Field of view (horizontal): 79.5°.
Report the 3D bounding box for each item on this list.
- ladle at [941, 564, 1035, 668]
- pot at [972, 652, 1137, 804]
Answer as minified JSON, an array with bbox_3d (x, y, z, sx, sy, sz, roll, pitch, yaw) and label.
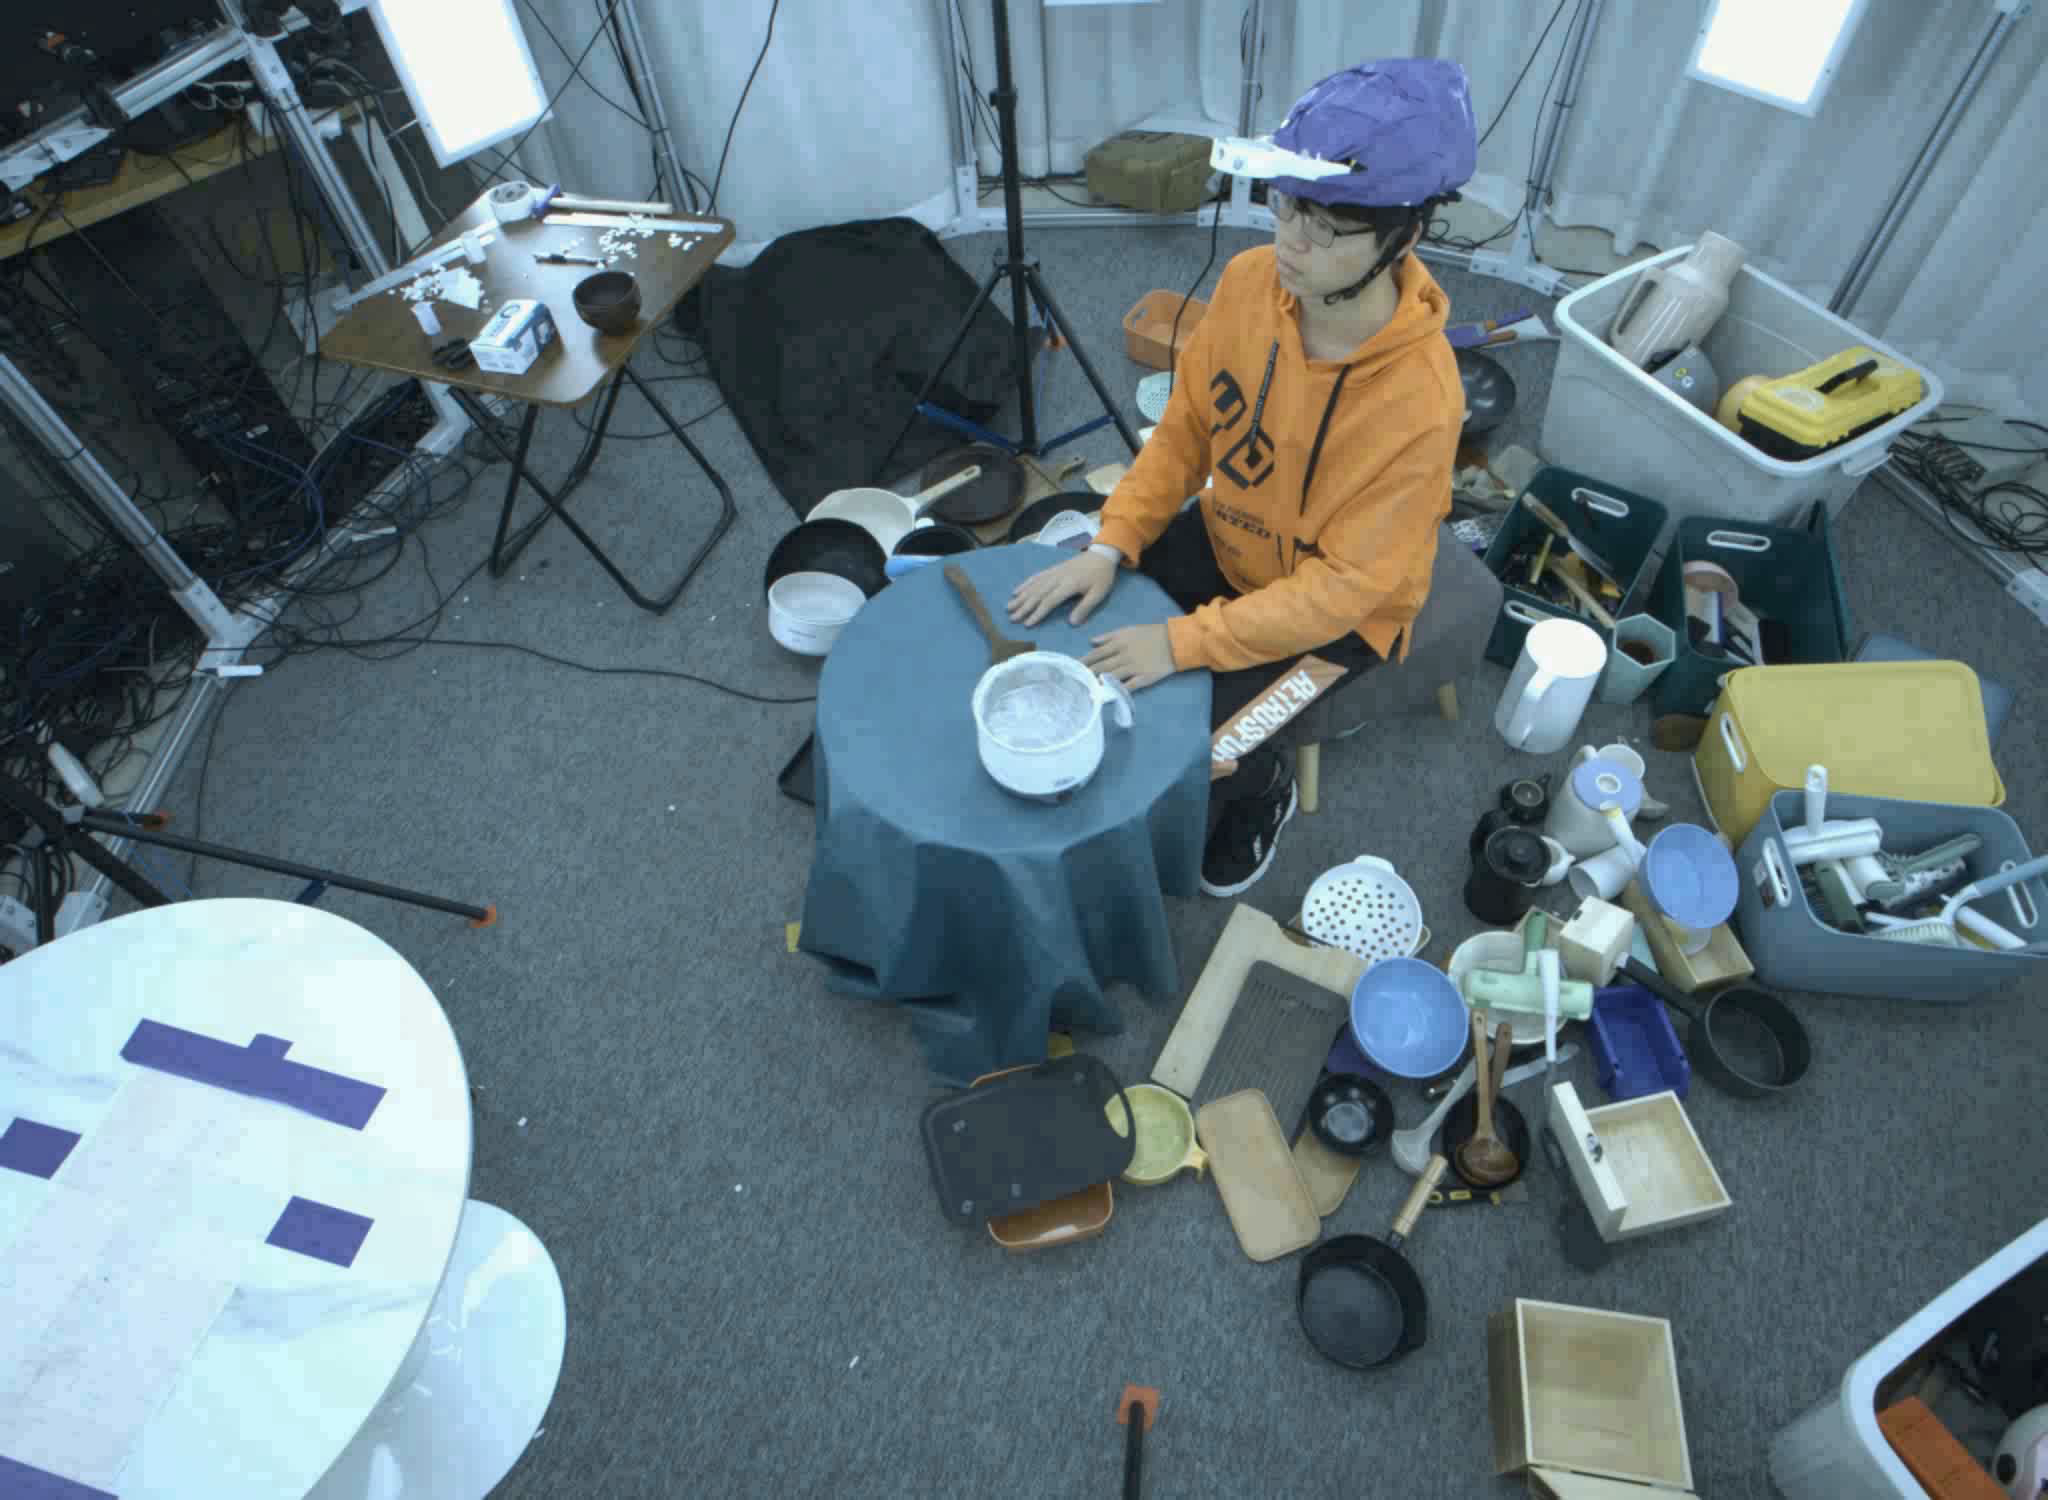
[{"bbox_3d":[-0.067,-0.223,1.904,0.076,0.072,0.269,-22,58,-15],"label":"ladle"},{"bbox_3d":[0.047,-0.039,1.728,0.235,0.138,0.175,-21,57,-11],"label":"pot"}]
